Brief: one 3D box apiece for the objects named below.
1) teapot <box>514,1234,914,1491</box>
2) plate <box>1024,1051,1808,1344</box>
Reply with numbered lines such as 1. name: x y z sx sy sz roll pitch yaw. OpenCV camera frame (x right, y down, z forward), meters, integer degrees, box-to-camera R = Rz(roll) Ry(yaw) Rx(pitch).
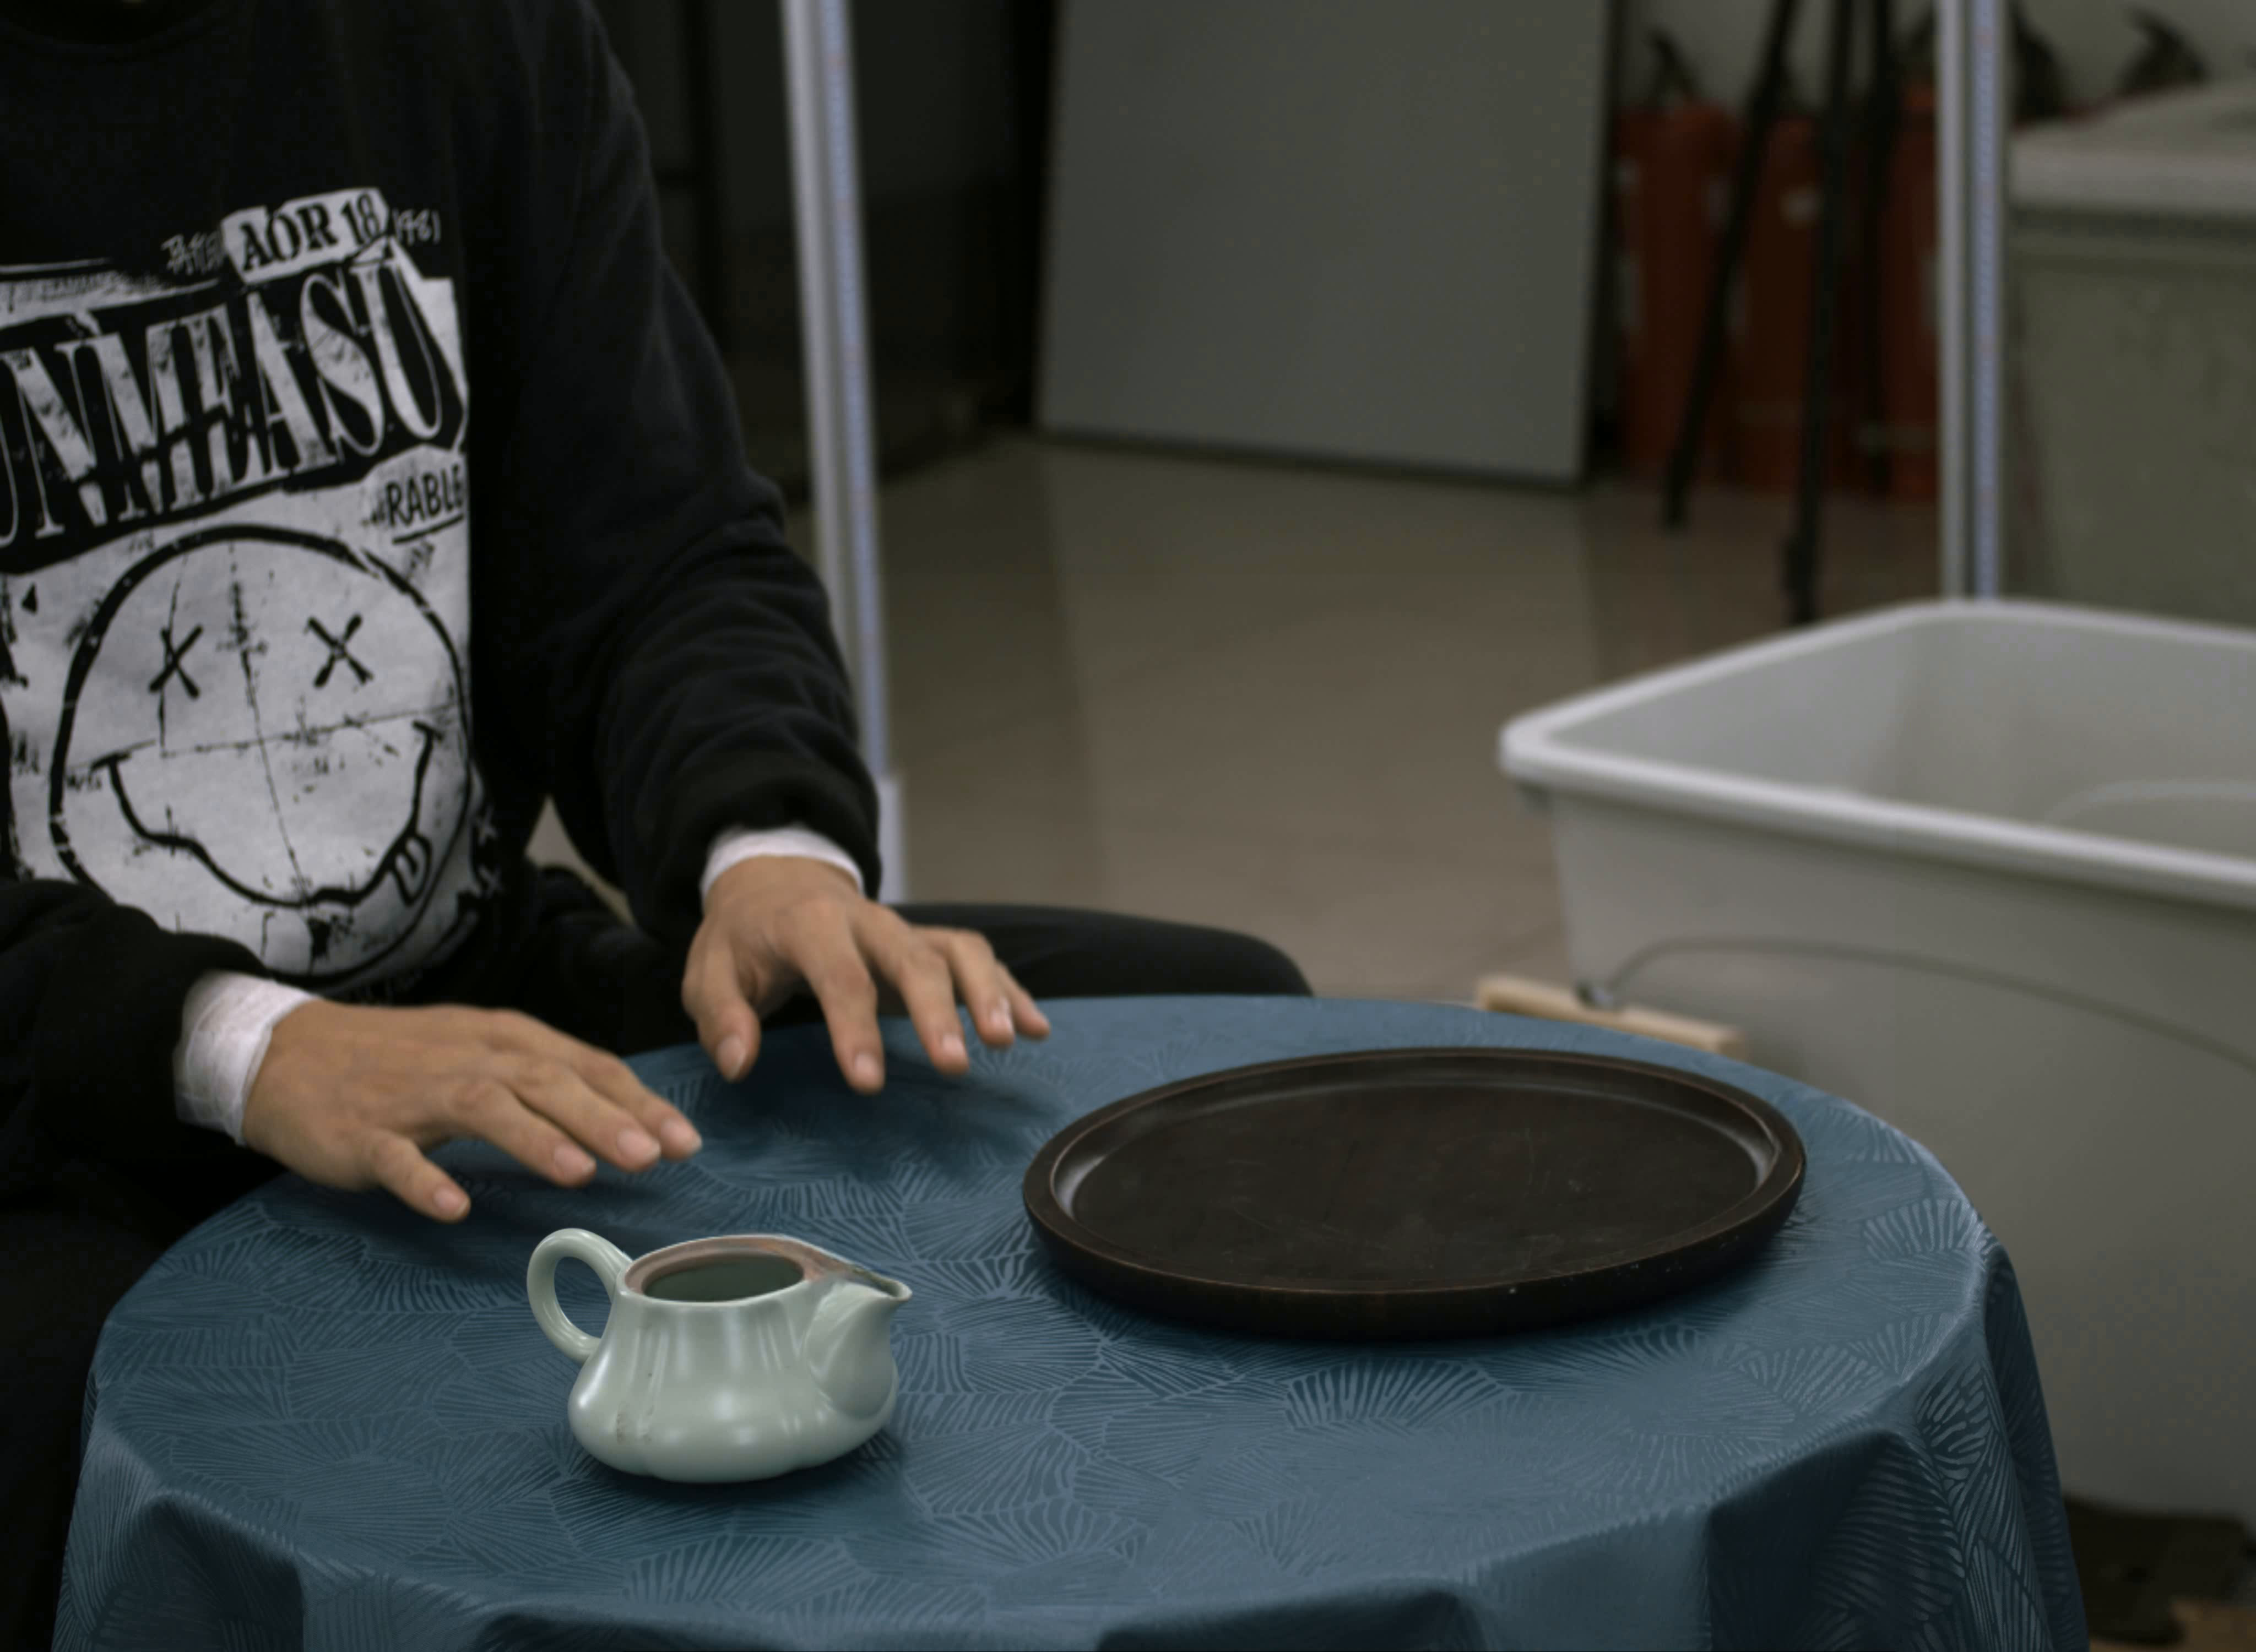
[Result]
1. teapot: -0.119 0.153 1.558 0.137 0.062 0.095 4 18 31
2. plate: 0.092 0.115 1.718 0.251 0.029 0.255 -4 15 0
